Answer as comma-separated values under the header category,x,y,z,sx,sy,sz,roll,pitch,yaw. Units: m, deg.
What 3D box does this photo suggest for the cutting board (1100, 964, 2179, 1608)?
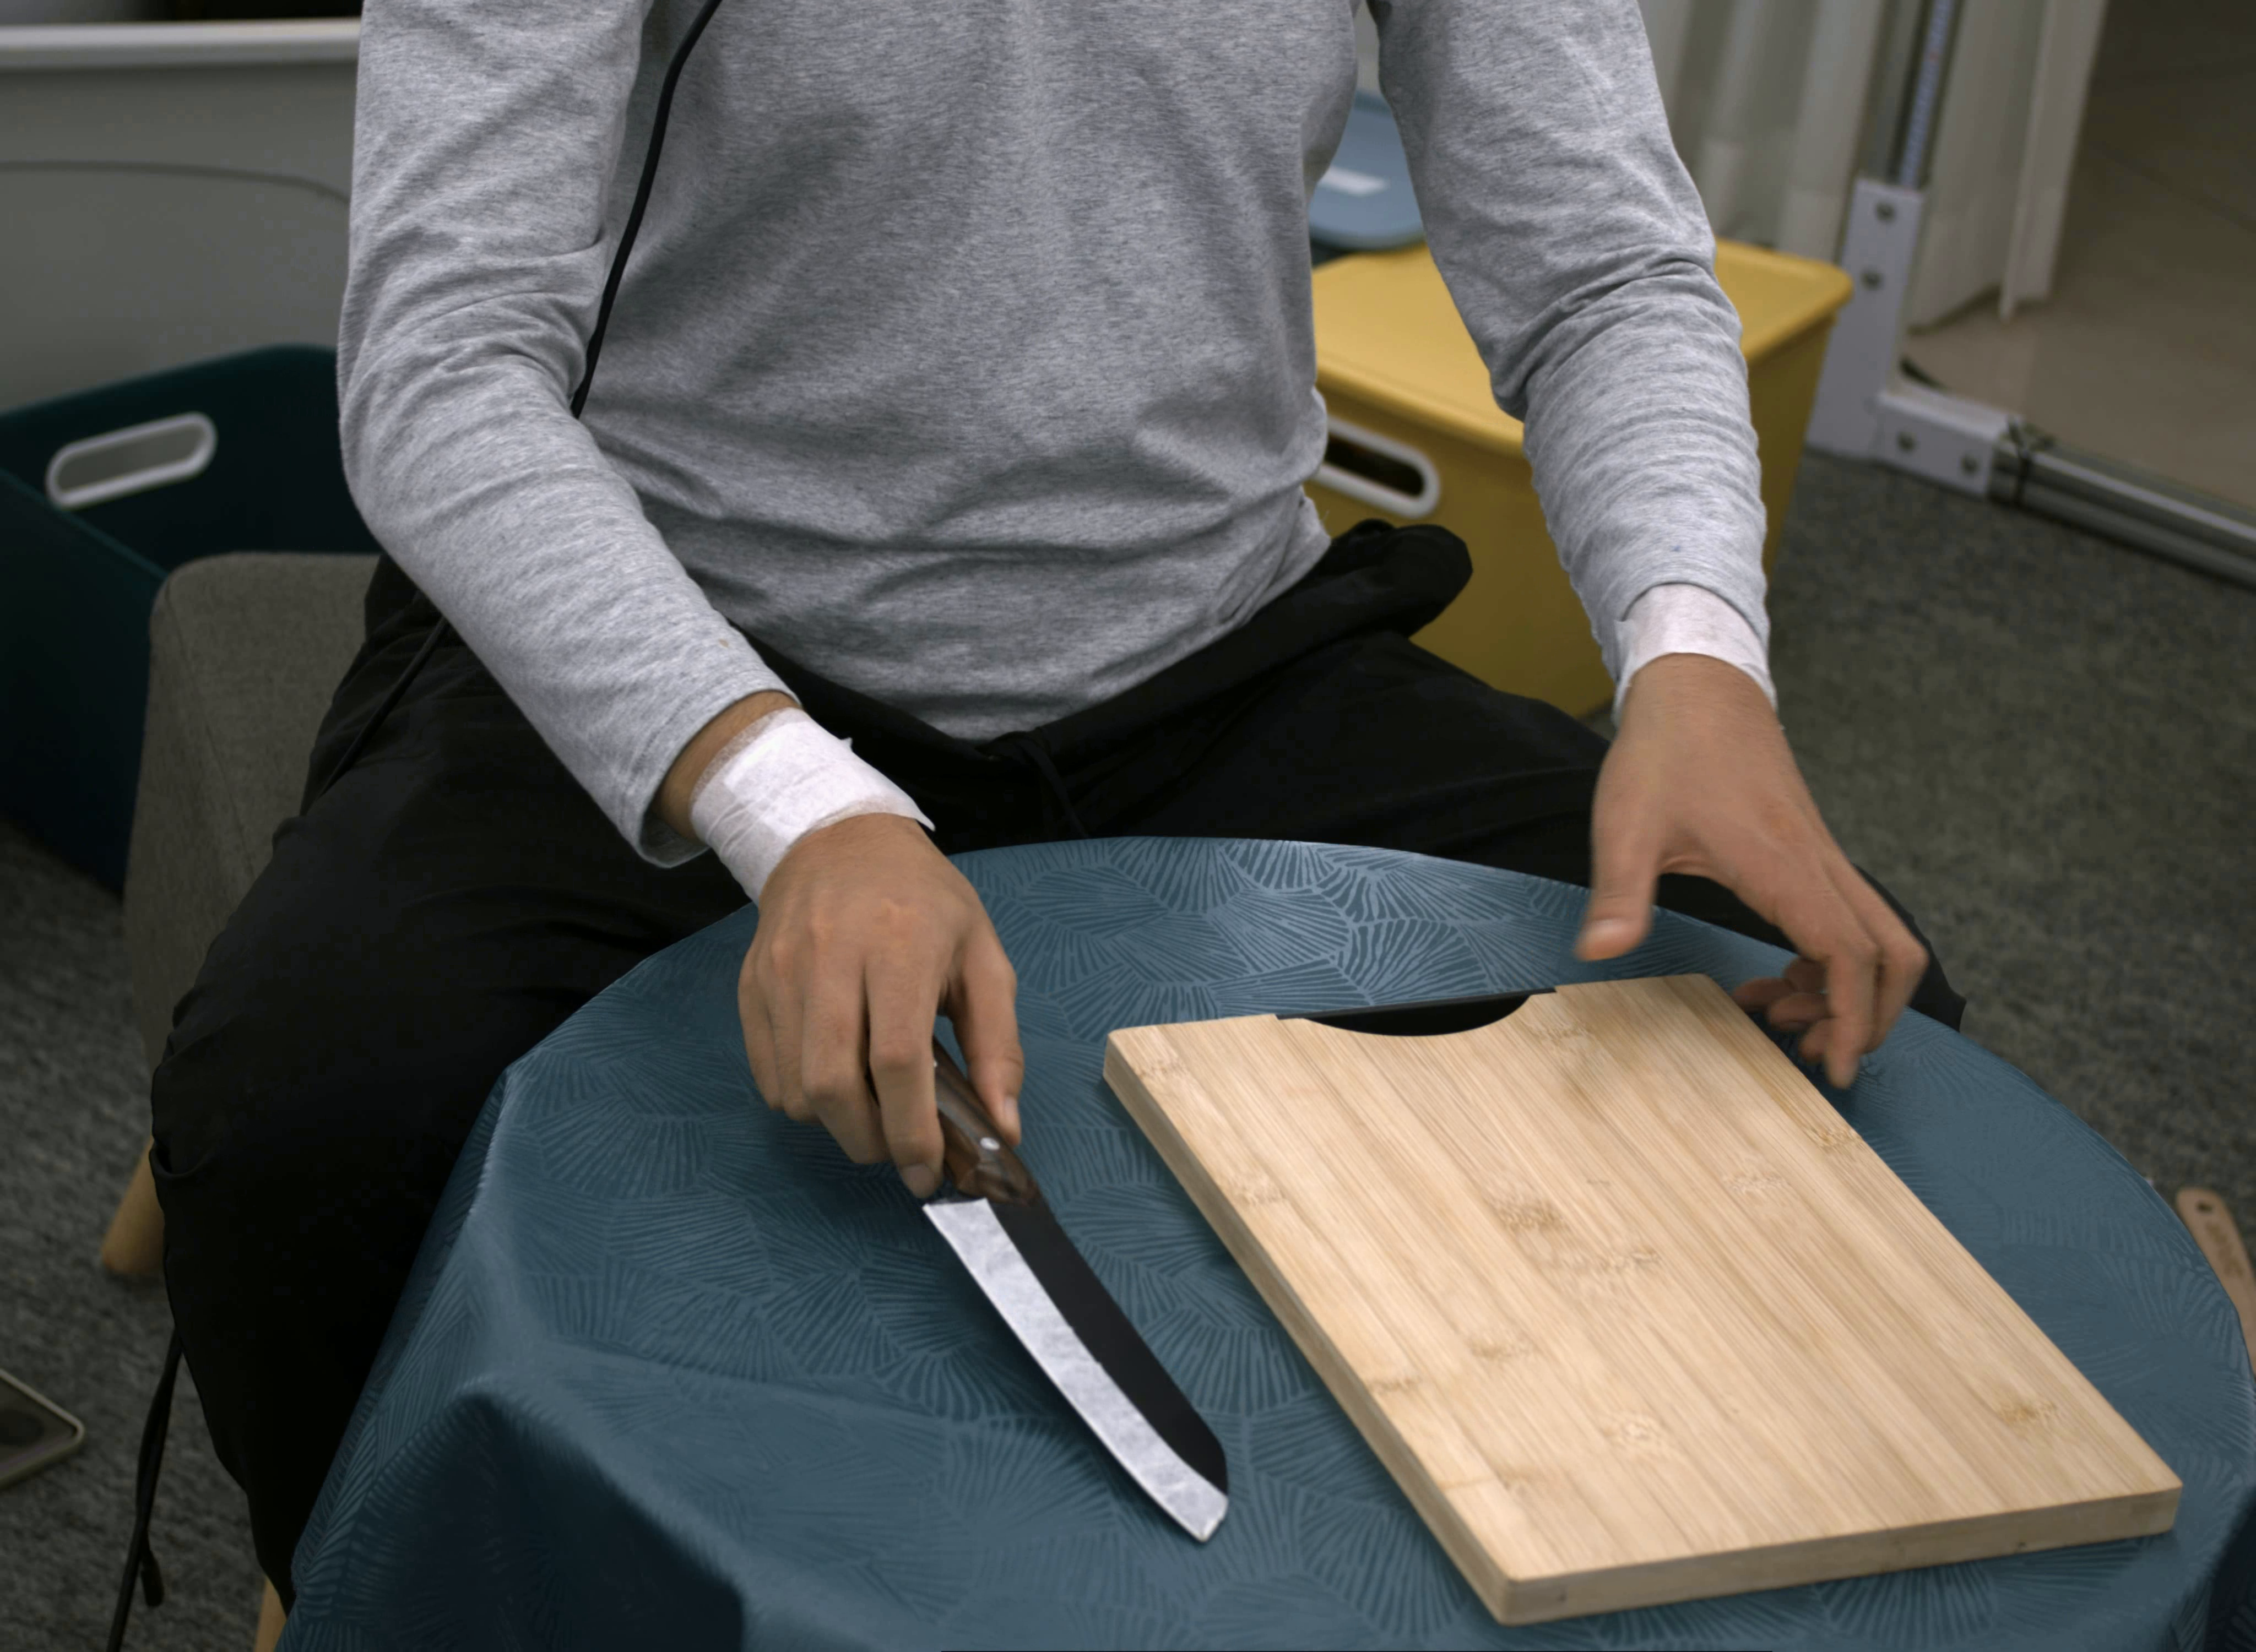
category,x,y,z,sx,sy,sz,roll,pitch,yaw
cutting board,0.161,0.146,1.781,0.249,0.023,0.352,-5,29,-22

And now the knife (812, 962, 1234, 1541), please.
category,x,y,z,sx,sy,sz,roll,pitch,yaw
knife,-0.037,0.135,1.724,0.050,0.020,0.292,-3,36,-30
